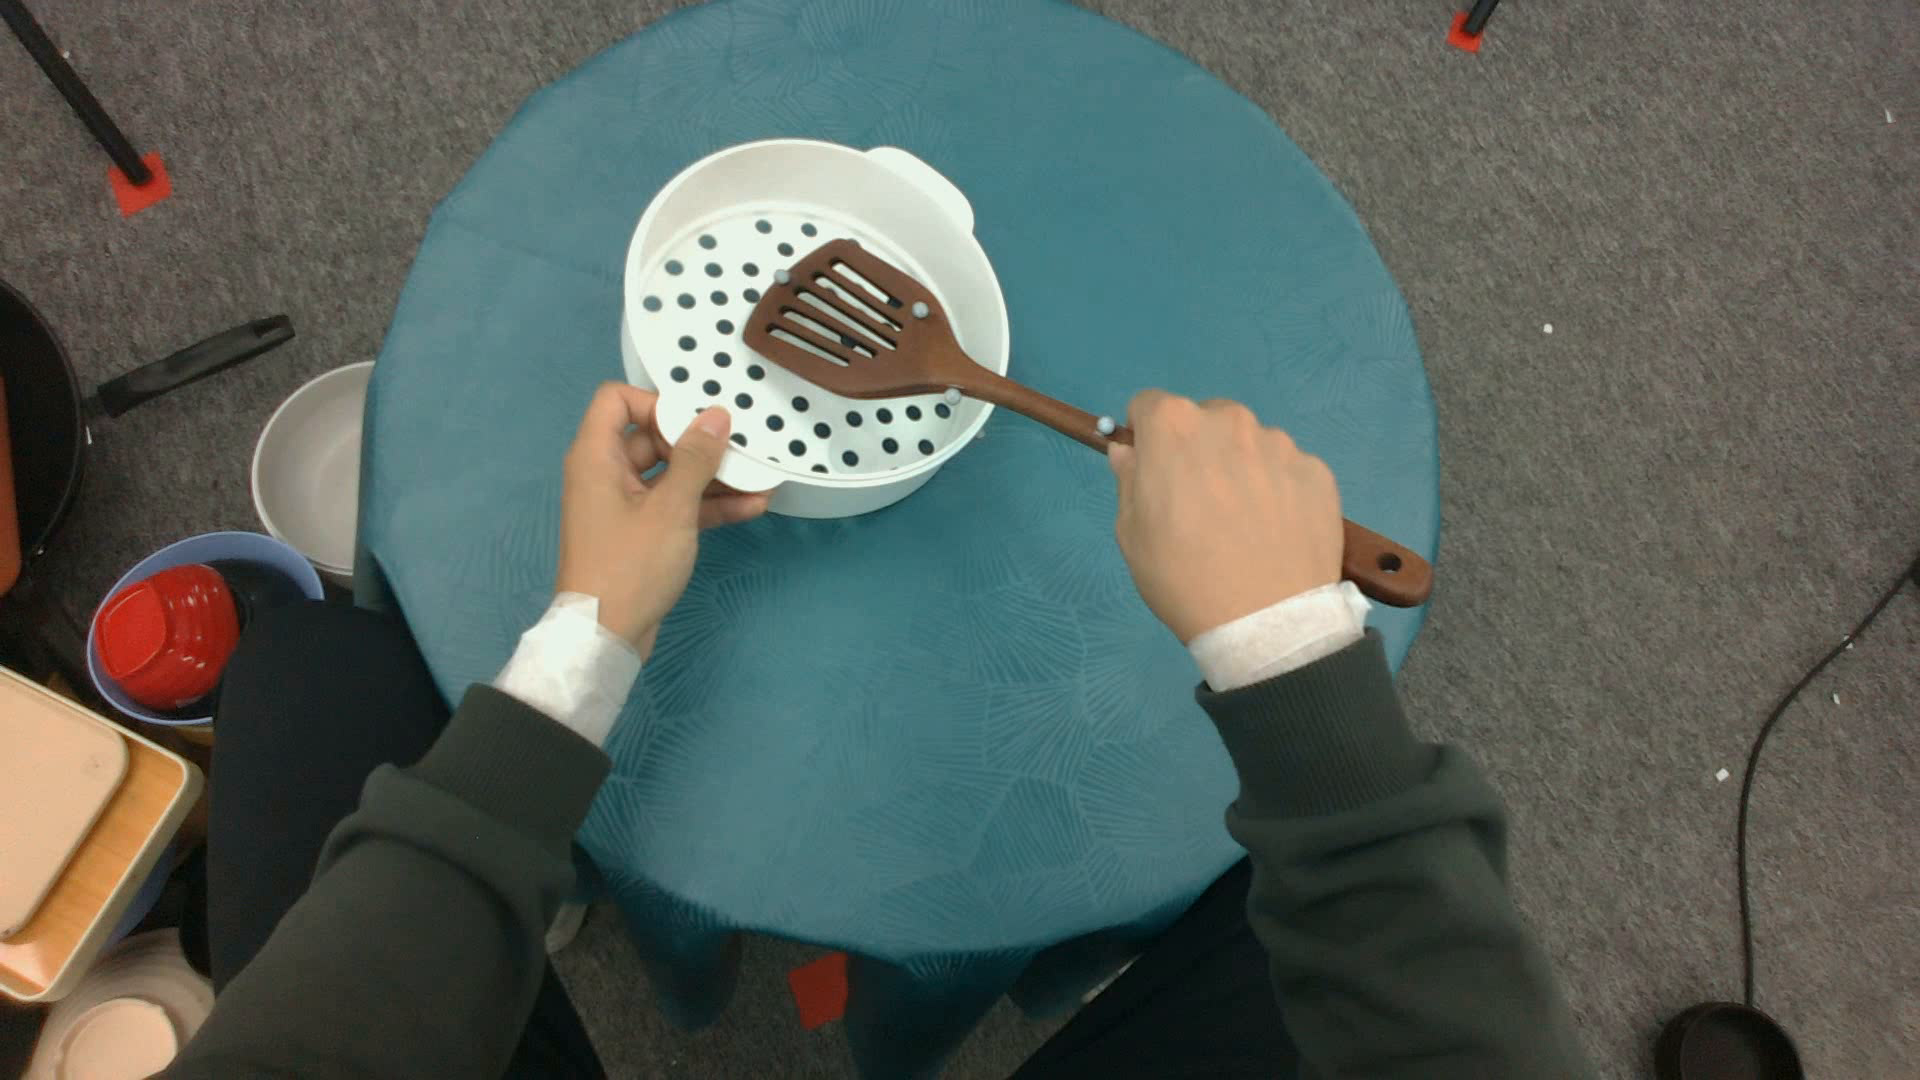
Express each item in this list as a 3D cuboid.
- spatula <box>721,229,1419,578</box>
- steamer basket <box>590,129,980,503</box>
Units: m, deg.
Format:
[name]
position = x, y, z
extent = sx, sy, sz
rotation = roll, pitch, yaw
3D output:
[spatula]
position = 0.035, -0.066, 0.638
extent = 0.385, 0.023, 0.086
rotation = 27, 66, 35
[steamer basket]
position = -0.093, -0.117, 0.734
extent = 0.202, 0.069, 0.231
rotation = 32, 64, -3
